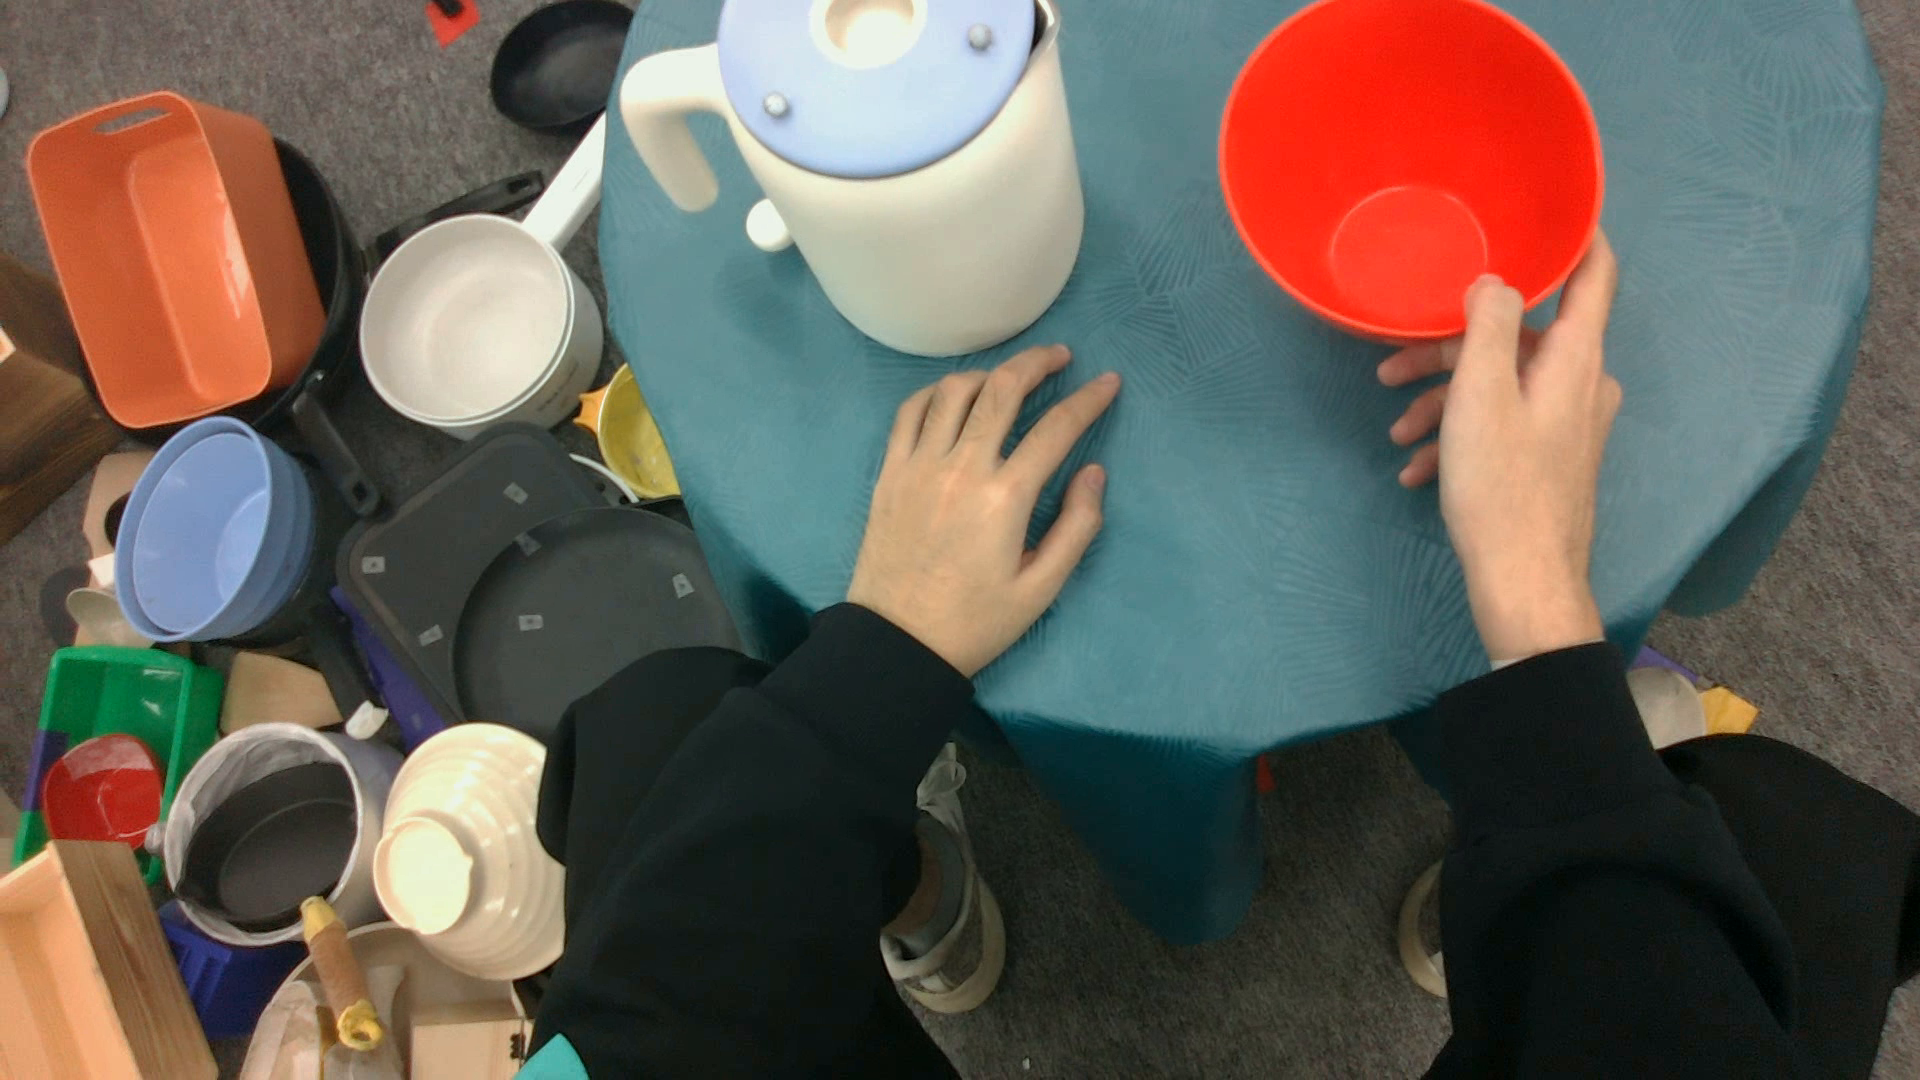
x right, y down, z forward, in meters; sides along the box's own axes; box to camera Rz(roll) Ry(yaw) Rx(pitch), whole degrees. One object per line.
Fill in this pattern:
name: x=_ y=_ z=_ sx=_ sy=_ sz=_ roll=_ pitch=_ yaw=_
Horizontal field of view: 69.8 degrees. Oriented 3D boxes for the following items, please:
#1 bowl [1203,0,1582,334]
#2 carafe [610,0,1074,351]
bowl: x=0.178 y=-0.147 z=0.583 sx=0.148 sy=0.104 sz=0.148 roll=-2 pitch=77 yaw=9
carafe: x=-0.047 y=-0.169 z=0.587 sx=0.191 sy=0.182 sz=0.132 roll=-3 pitch=74 yaw=10
